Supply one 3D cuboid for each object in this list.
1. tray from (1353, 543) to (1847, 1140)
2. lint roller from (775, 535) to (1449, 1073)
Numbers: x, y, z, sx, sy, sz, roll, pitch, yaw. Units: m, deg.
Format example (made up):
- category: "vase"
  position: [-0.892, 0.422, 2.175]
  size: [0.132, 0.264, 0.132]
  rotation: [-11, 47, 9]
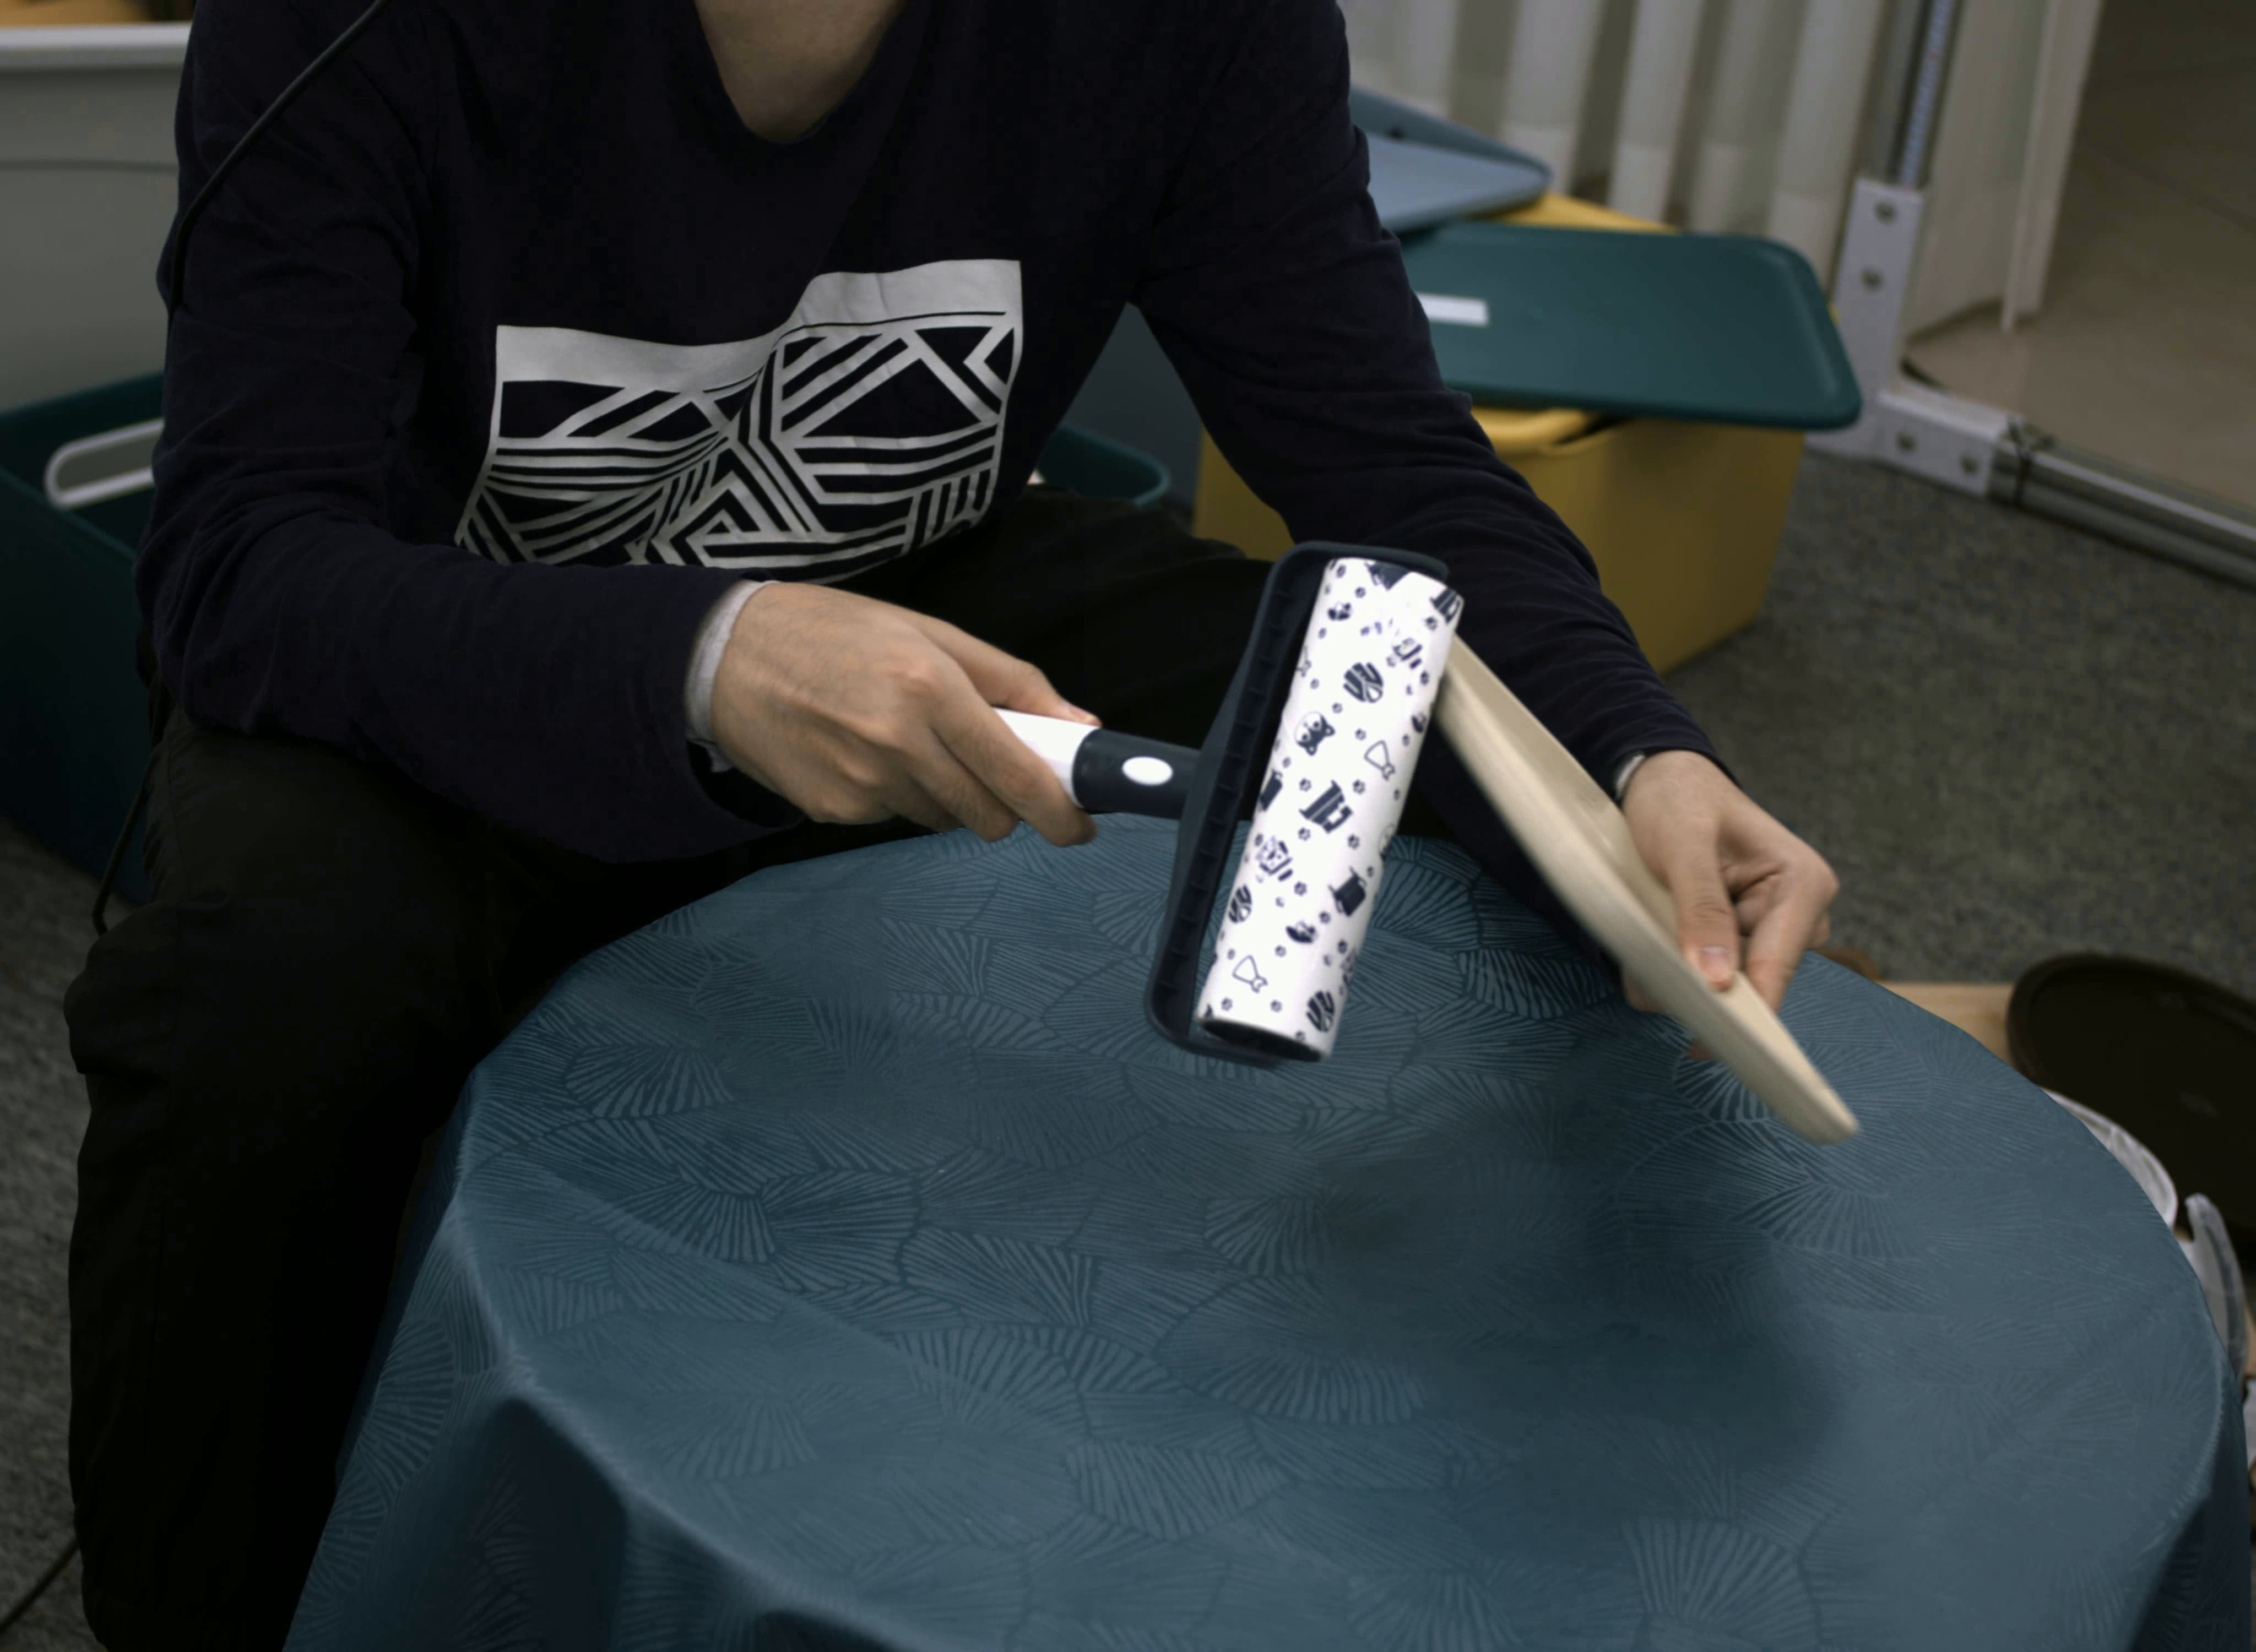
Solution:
- category: "tray"
  position: [0.152, 0.006, 1.788]
  size: [0.170, 0.017, 0.242]
  rotation: [43, 10, -34]
- category: "lint roller"
  position: [-0.022, -0.021, 1.786]
  size: [0.248, 0.177, 0.050]
  rotation: [9, -12, 32]
